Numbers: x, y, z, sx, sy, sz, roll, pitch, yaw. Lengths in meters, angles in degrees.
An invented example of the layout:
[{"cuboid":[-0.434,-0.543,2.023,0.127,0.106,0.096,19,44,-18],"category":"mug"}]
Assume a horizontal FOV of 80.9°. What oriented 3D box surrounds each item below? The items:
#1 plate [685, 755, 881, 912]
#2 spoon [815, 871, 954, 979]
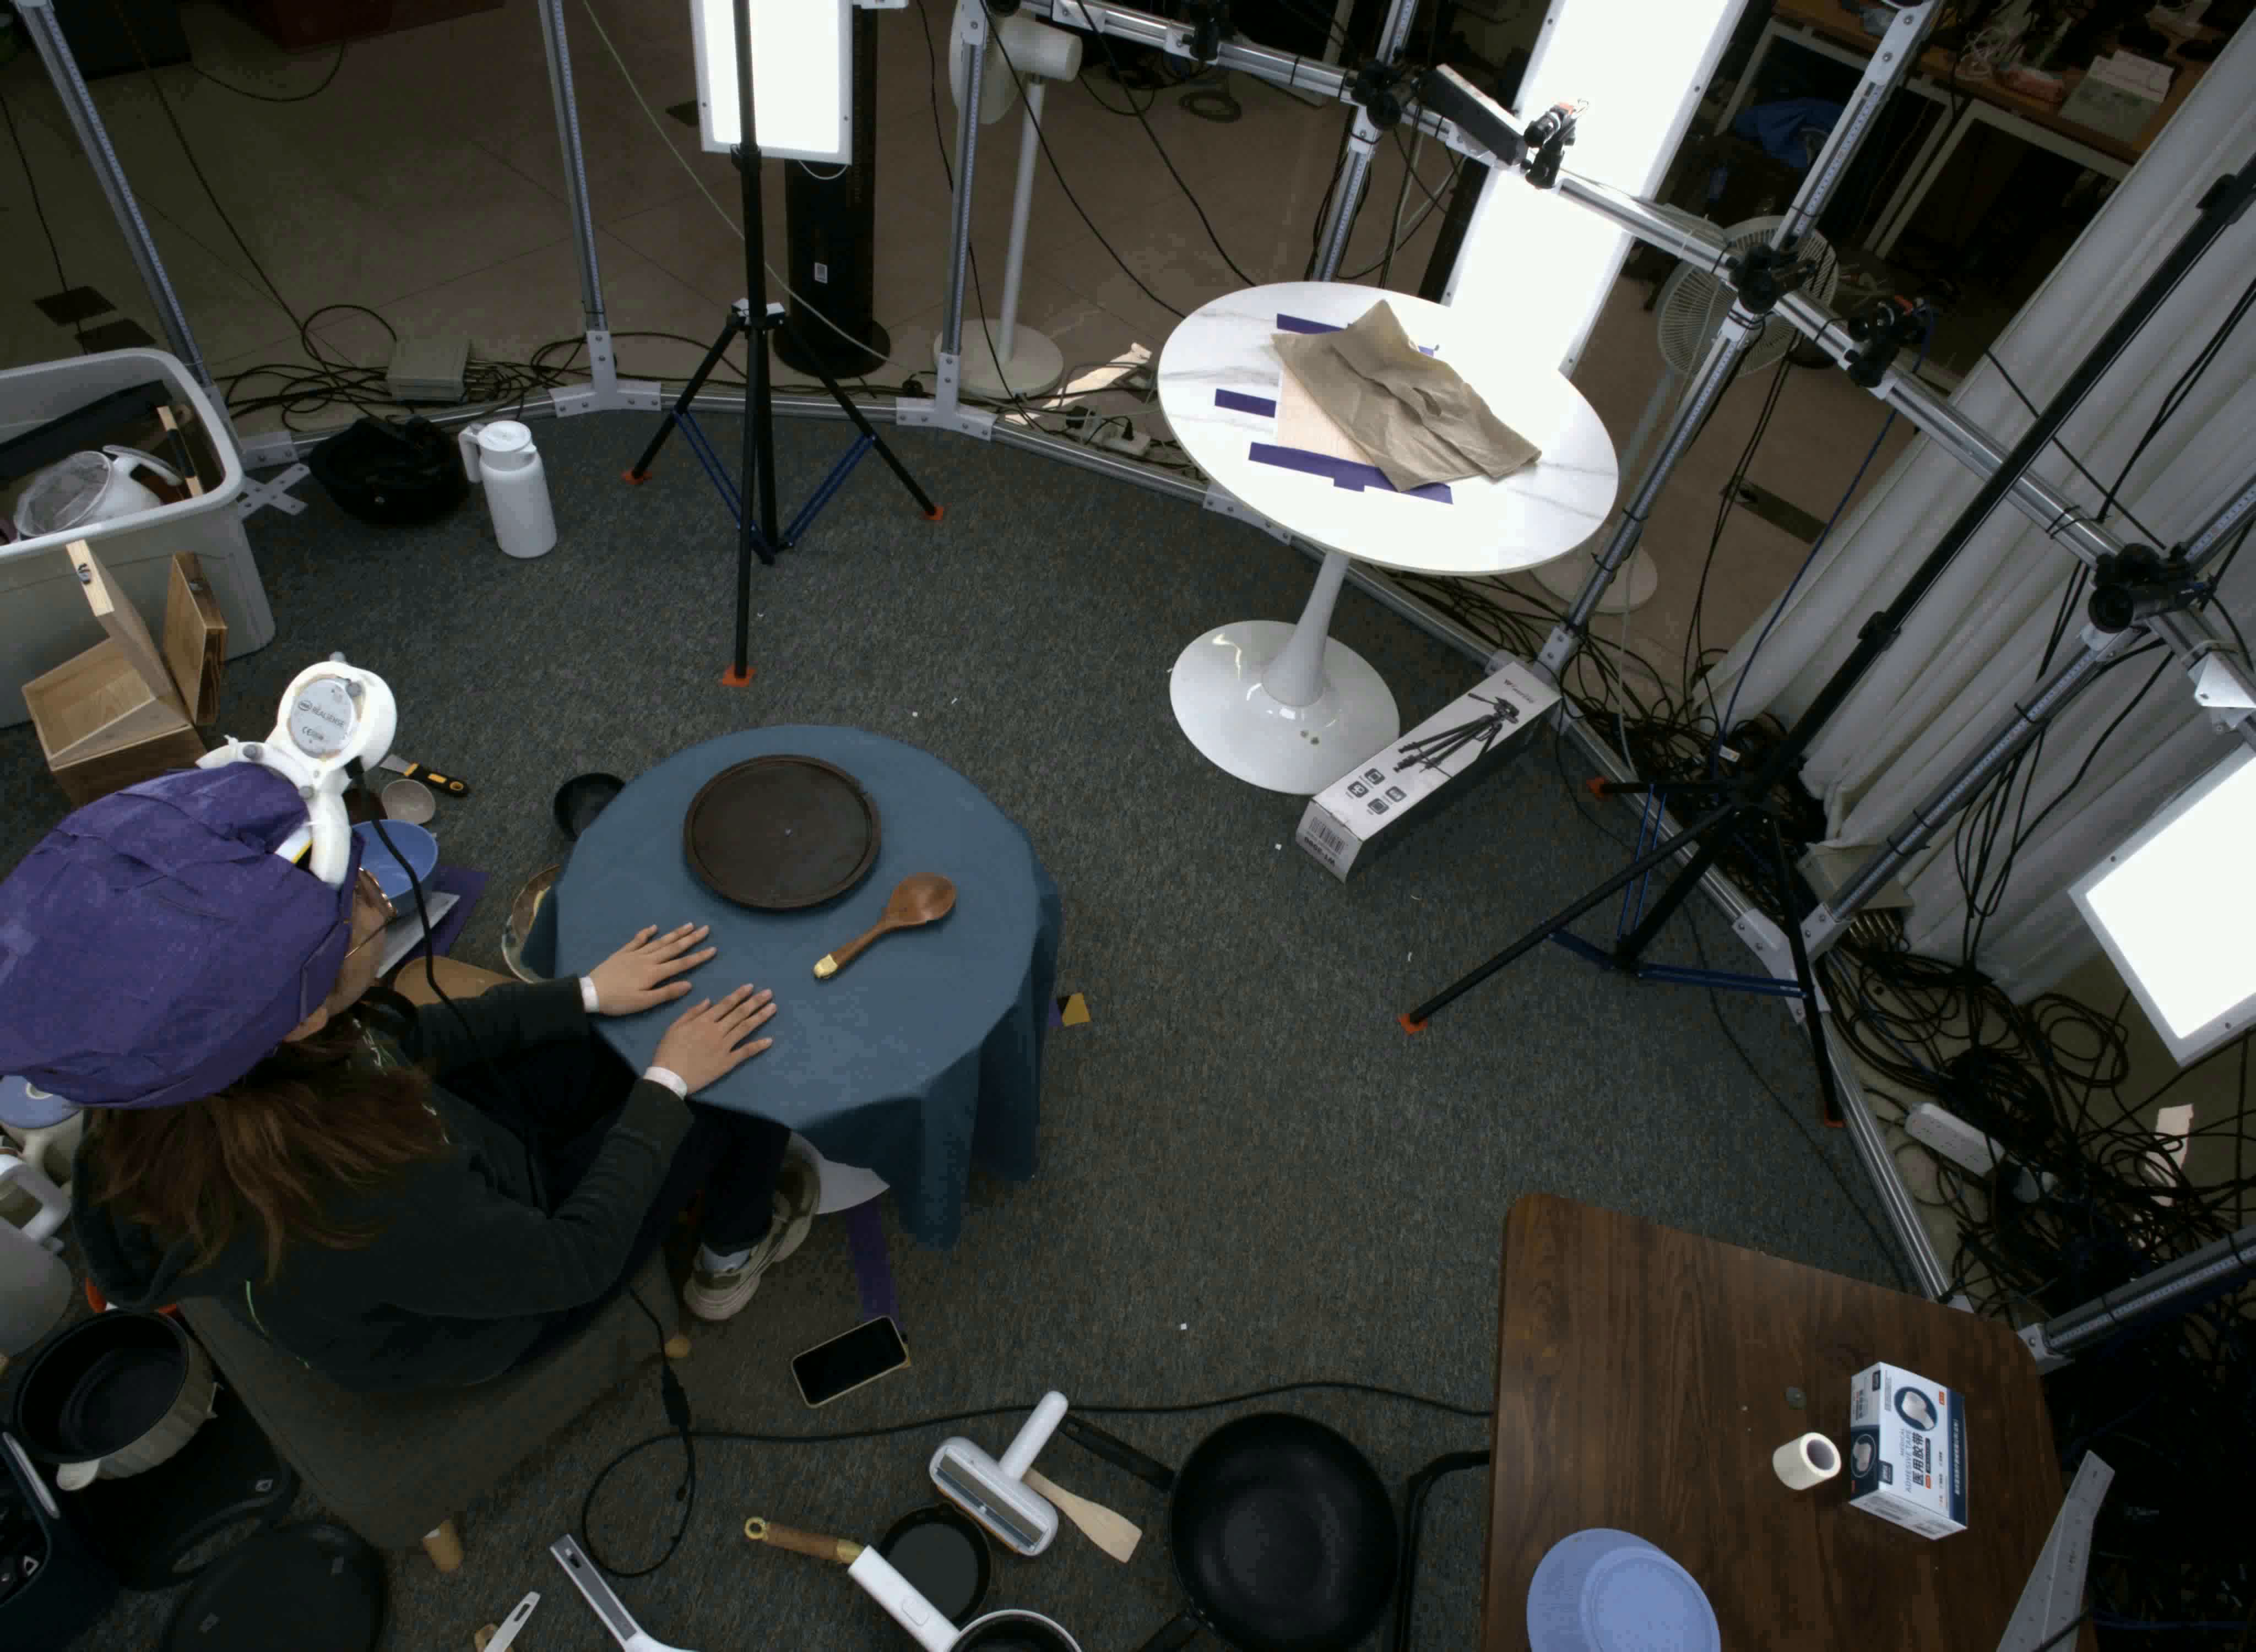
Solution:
[{"cuboid":[-0.452,0.007,1.702,0.254,0.029,0.250,8,51,-8],"category":"plate"},{"cuboid":[-0.310,0.126,1.654,0.074,0.017,0.216,41,55,17],"category":"spoon"}]
